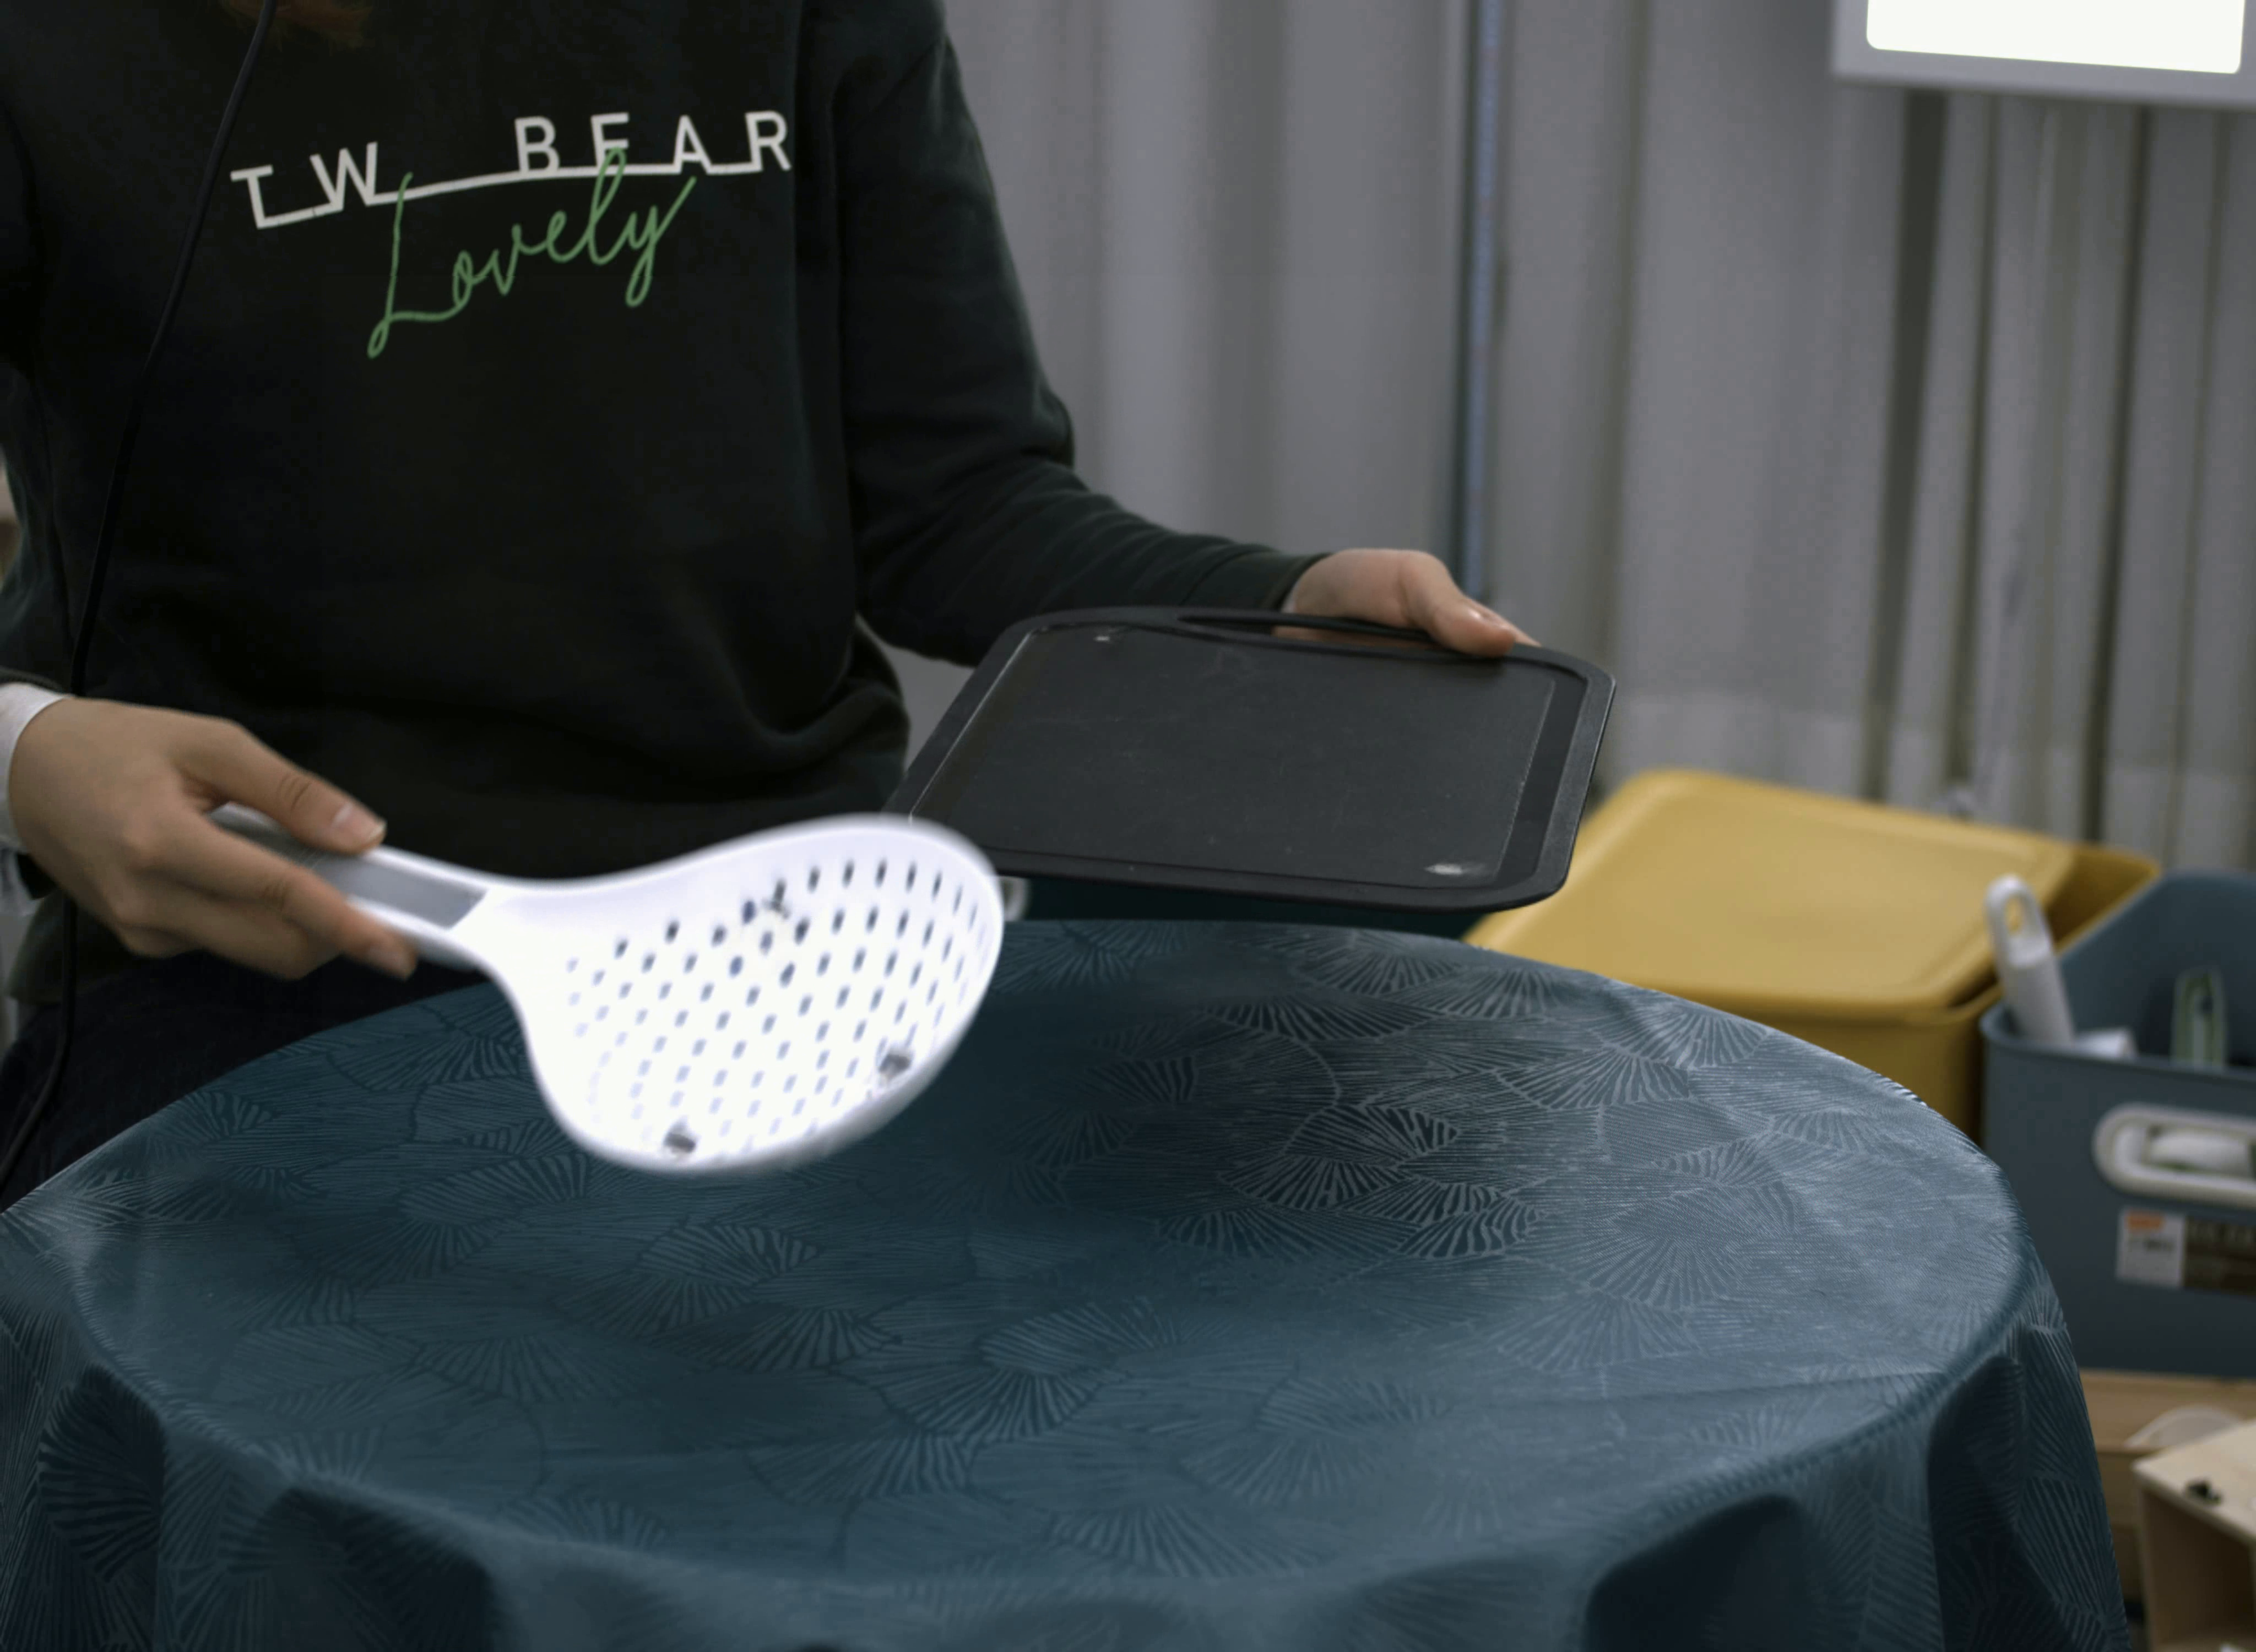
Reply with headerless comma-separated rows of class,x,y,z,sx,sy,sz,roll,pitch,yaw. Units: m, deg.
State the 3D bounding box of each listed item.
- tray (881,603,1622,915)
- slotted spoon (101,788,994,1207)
tray,0.047,-0.030,1.695,0.210,0.010,0.324,6,18,8
slotted spoon,-0.180,0.036,1.520,0.345,0.046,0.136,19,53,35
